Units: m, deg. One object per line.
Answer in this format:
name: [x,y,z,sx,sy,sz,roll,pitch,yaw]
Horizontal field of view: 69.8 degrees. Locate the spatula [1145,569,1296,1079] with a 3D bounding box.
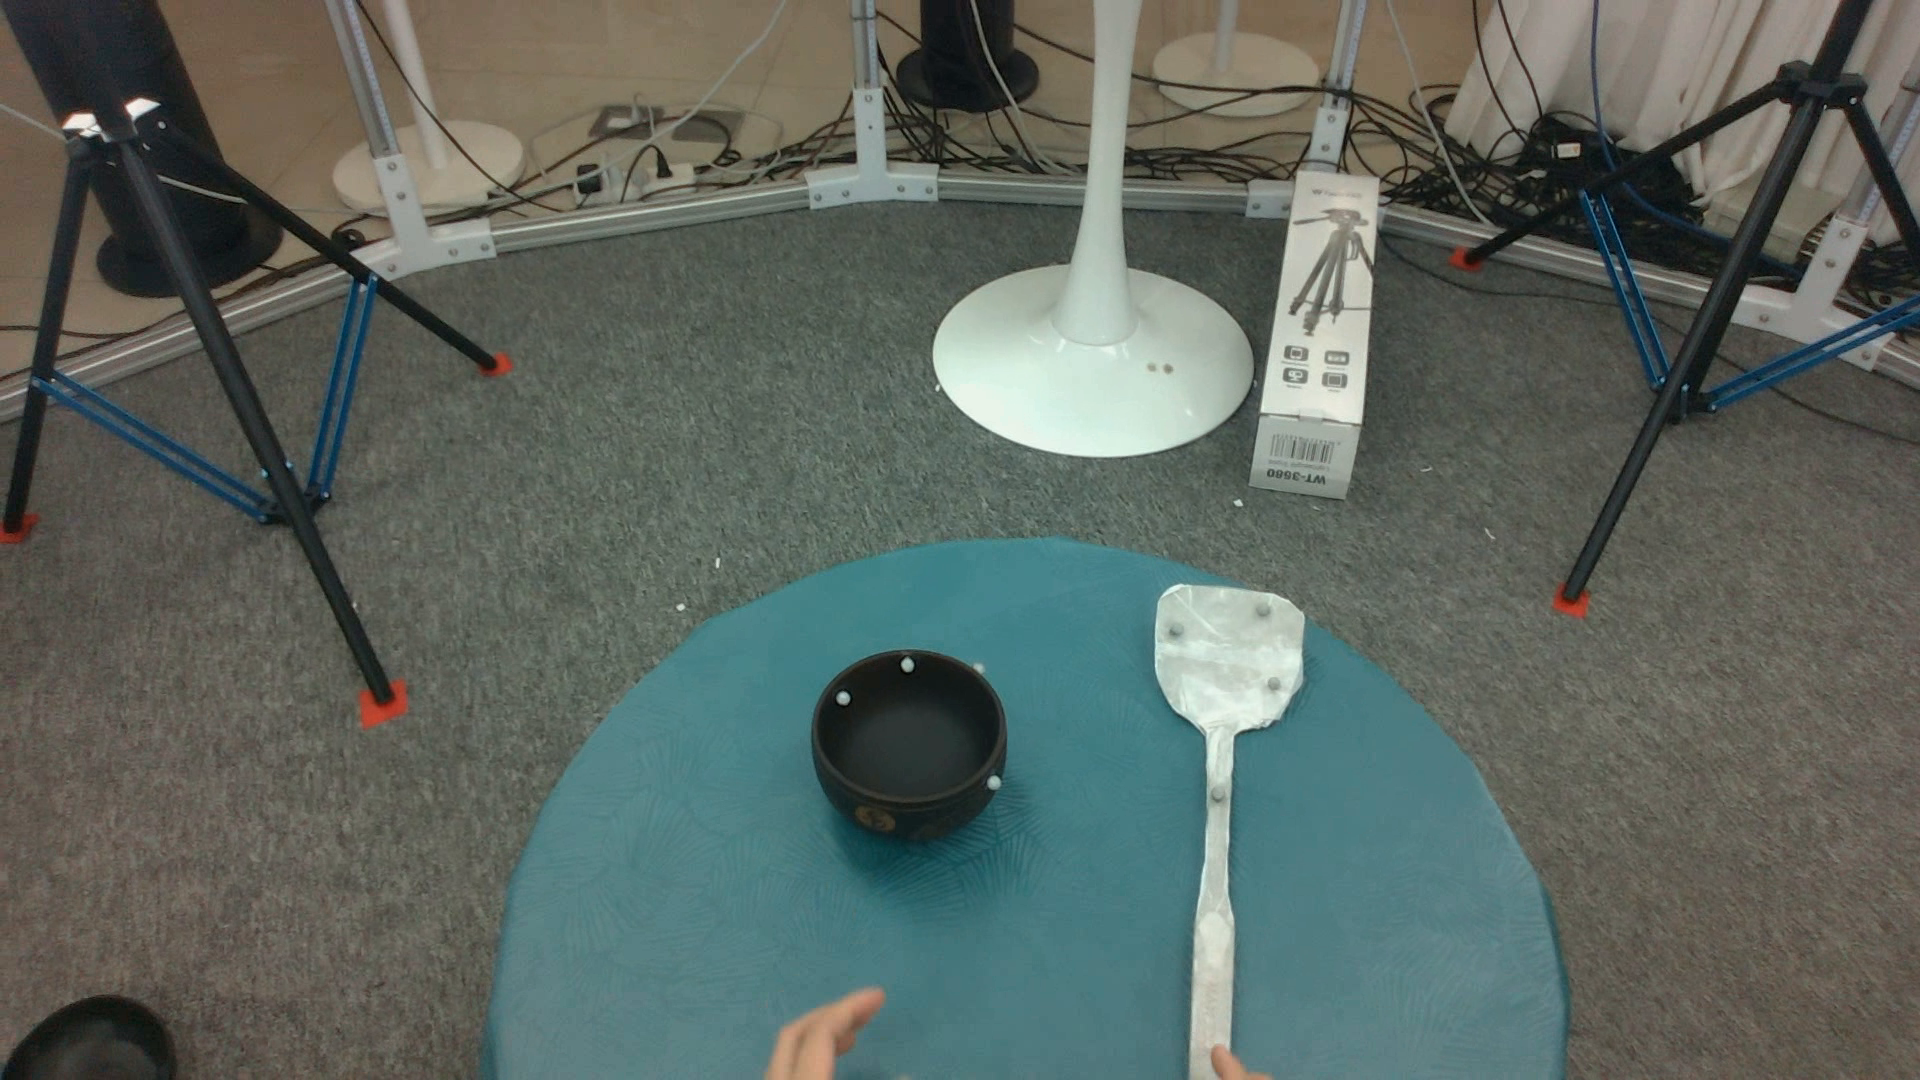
spatula: [0.144,0.161,0.814,0.098,0.044,0.367,9,44,6]

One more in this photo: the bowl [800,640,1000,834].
bowl: [-0.035,0.125,0.824,0.118,0.069,0.118,-1,44,1]
